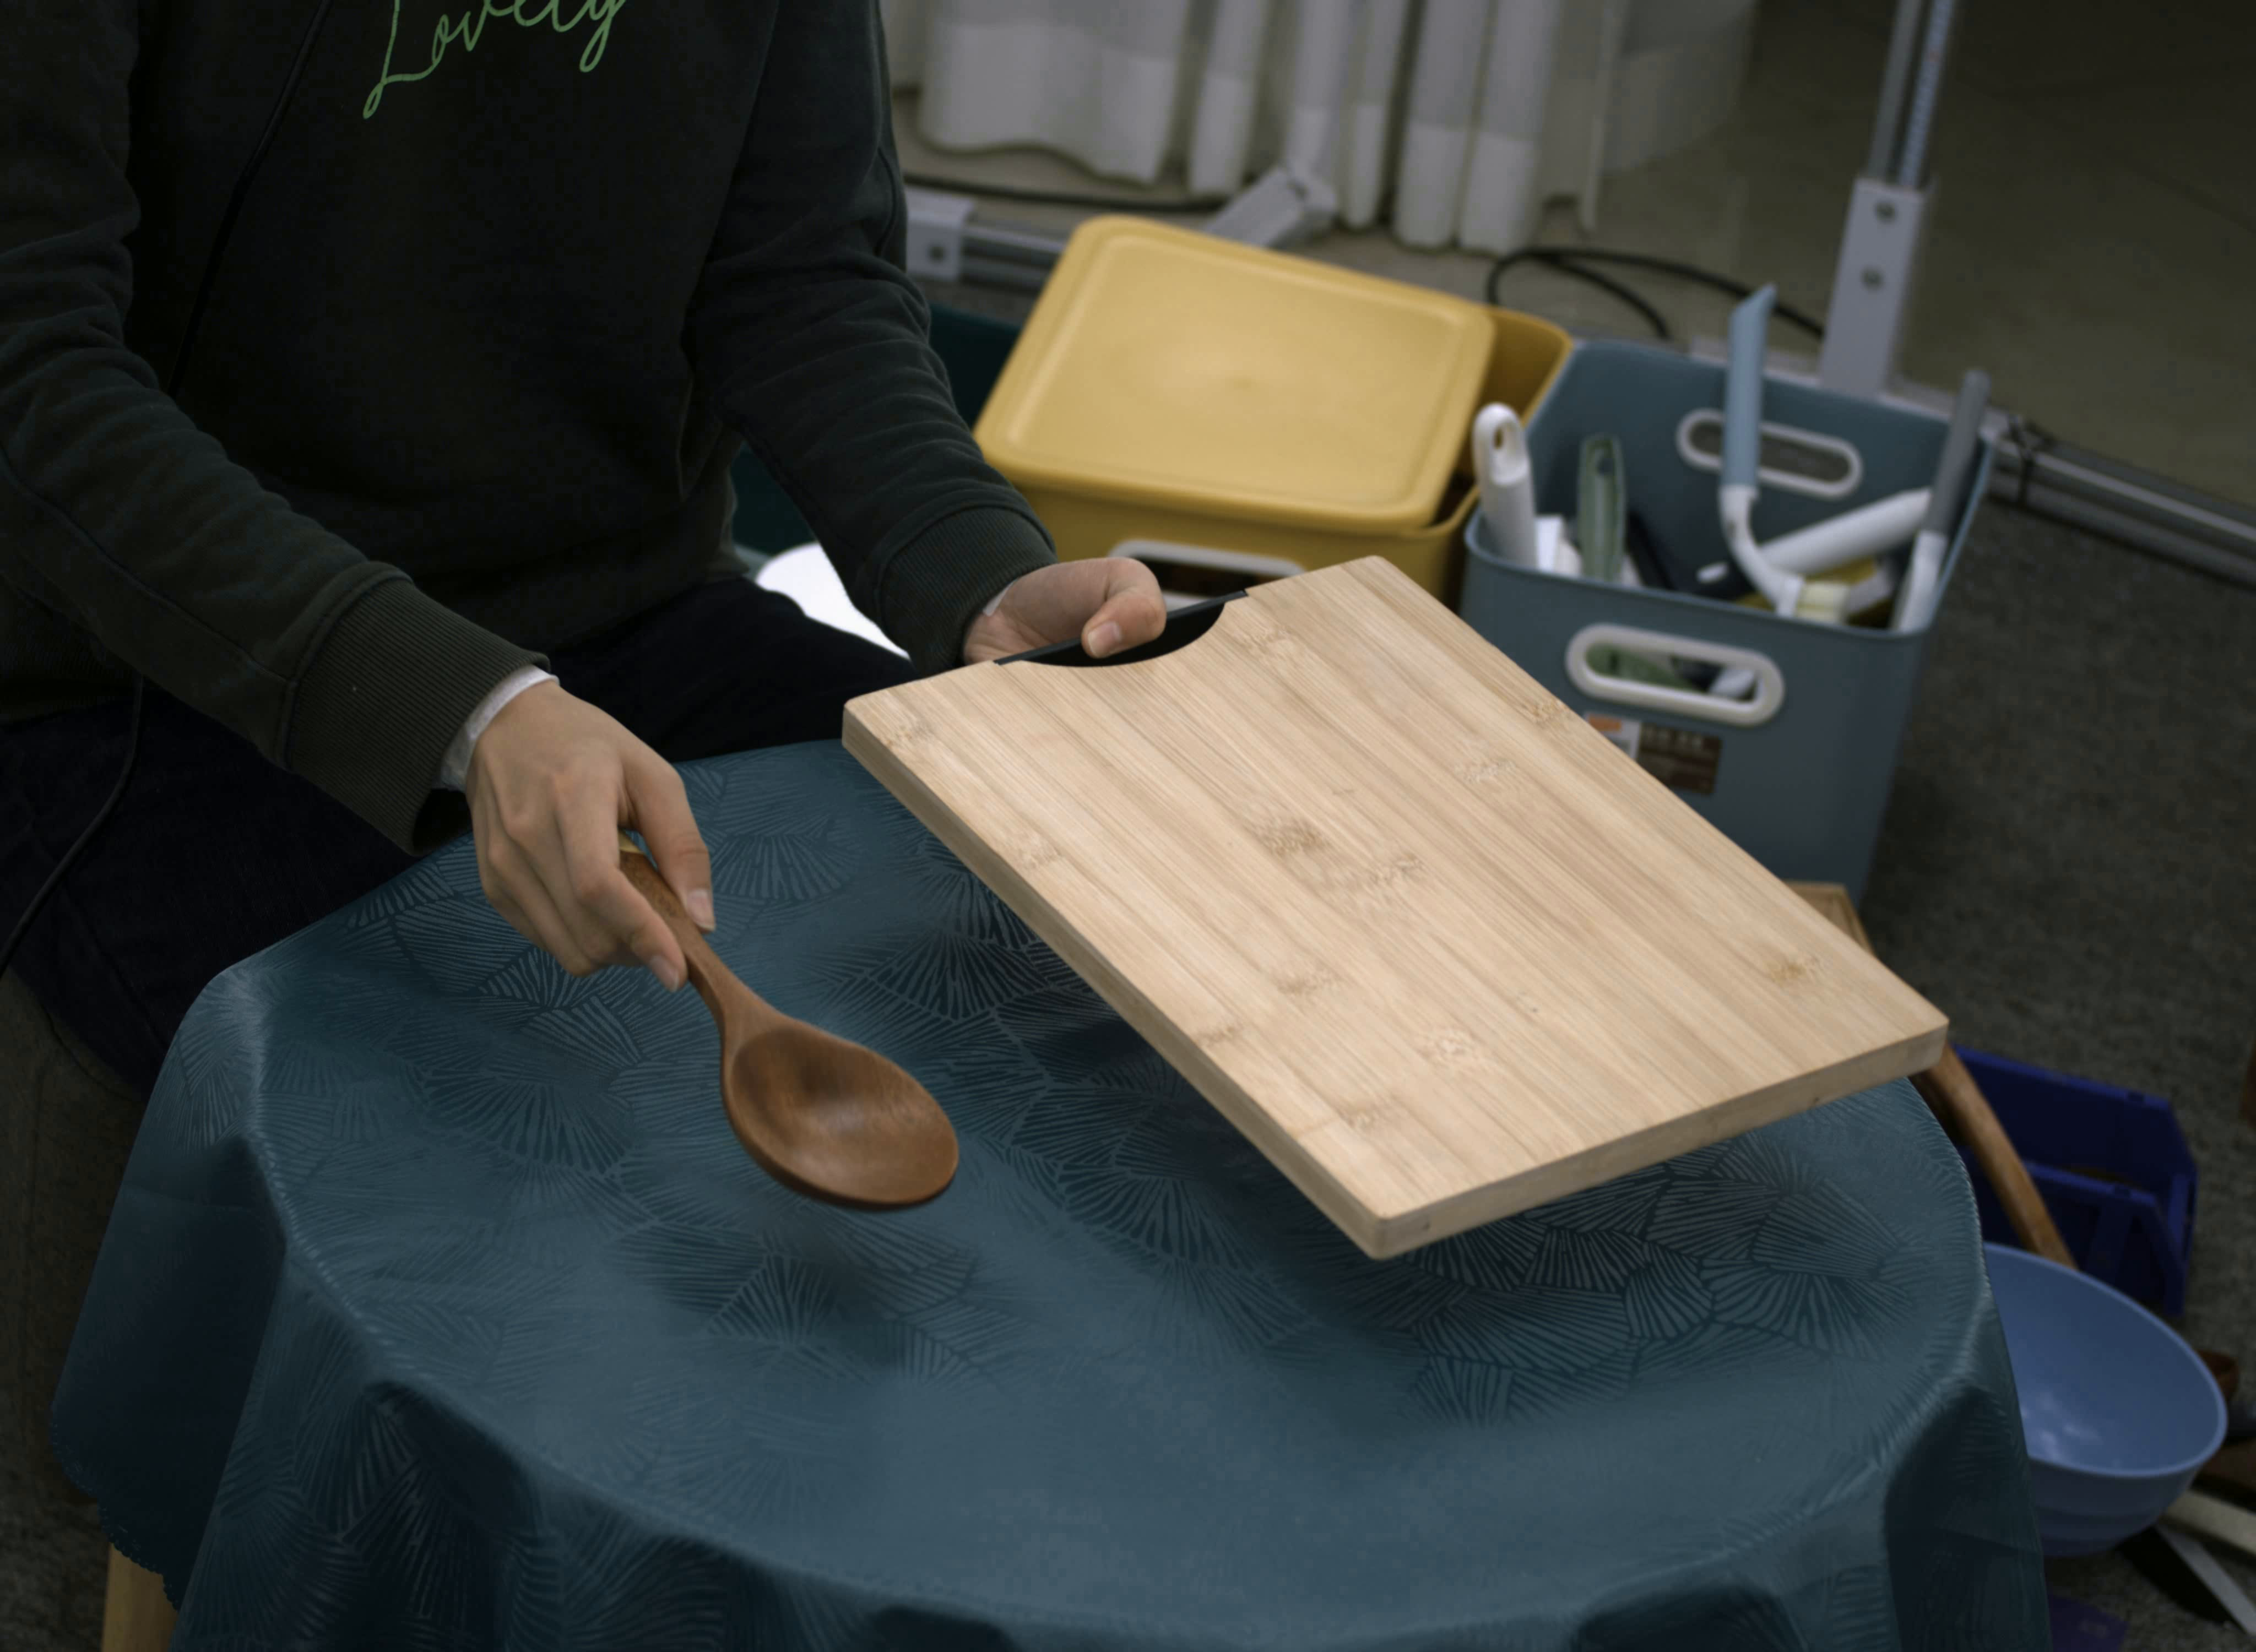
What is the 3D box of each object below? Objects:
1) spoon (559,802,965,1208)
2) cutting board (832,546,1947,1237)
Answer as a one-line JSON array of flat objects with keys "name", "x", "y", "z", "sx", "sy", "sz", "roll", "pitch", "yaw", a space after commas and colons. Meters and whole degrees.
[{"name": "spoon", "x": -0.128, "y": 0.059, "z": 1.757, "sx": 0.075, "sy": 0.017, "sz": 0.218, "roll": -12, "pitch": 43, "yaw": -35}, {"name": "cutting board", "x": 0.085, "y": 0.014, "z": 1.865, "sx": 0.249, "sy": 0.023, "sz": 0.352, "roll": -16, "pitch": 38, "yaw": -30}]
